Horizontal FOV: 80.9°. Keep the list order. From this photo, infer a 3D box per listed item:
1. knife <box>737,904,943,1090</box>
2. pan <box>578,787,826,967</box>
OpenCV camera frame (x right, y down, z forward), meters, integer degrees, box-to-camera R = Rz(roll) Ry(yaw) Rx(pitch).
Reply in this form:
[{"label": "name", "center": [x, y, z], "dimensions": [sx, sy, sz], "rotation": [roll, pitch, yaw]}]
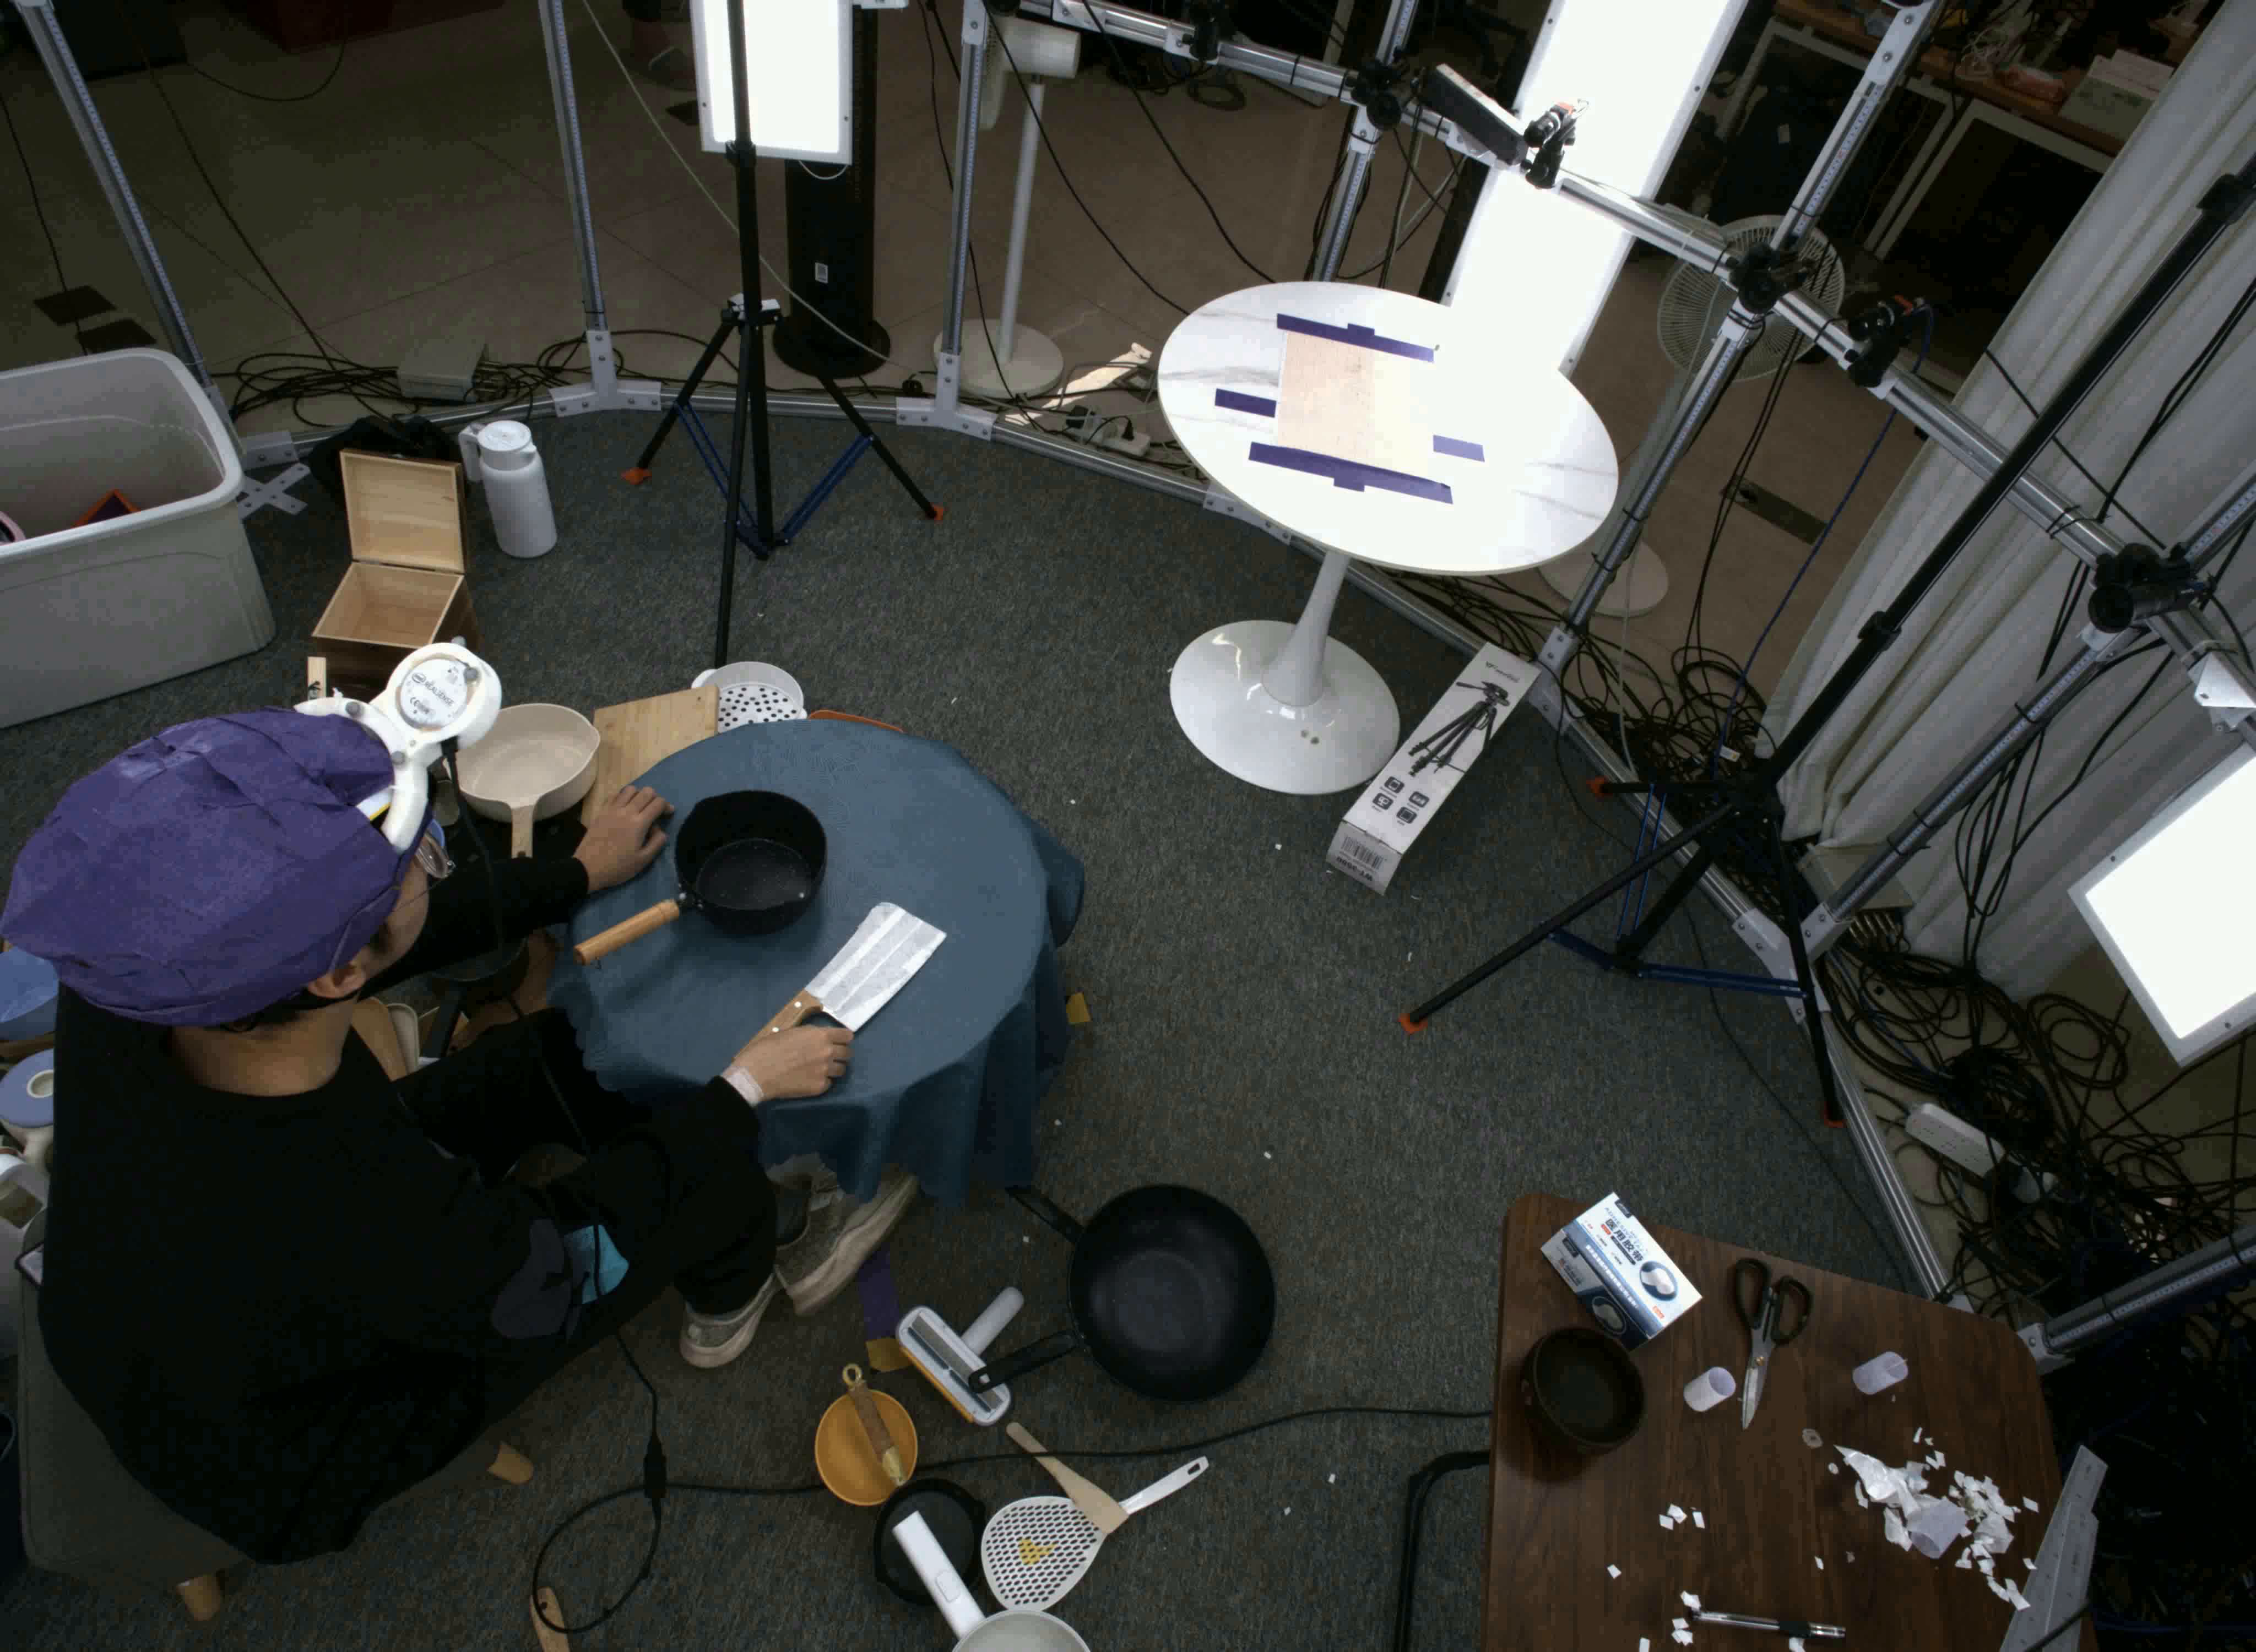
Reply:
[{"label": "knife", "center": [-0.352, 0.200, 1.571], "dimensions": [0.112, 0.022, 0.315], "rotation": [35, 50, 12]}, {"label": "pan", "center": [-0.515, 0.086, 1.554], "dimensions": [0.203, 0.110, 0.343], "rotation": [38, 52, 14]}]
